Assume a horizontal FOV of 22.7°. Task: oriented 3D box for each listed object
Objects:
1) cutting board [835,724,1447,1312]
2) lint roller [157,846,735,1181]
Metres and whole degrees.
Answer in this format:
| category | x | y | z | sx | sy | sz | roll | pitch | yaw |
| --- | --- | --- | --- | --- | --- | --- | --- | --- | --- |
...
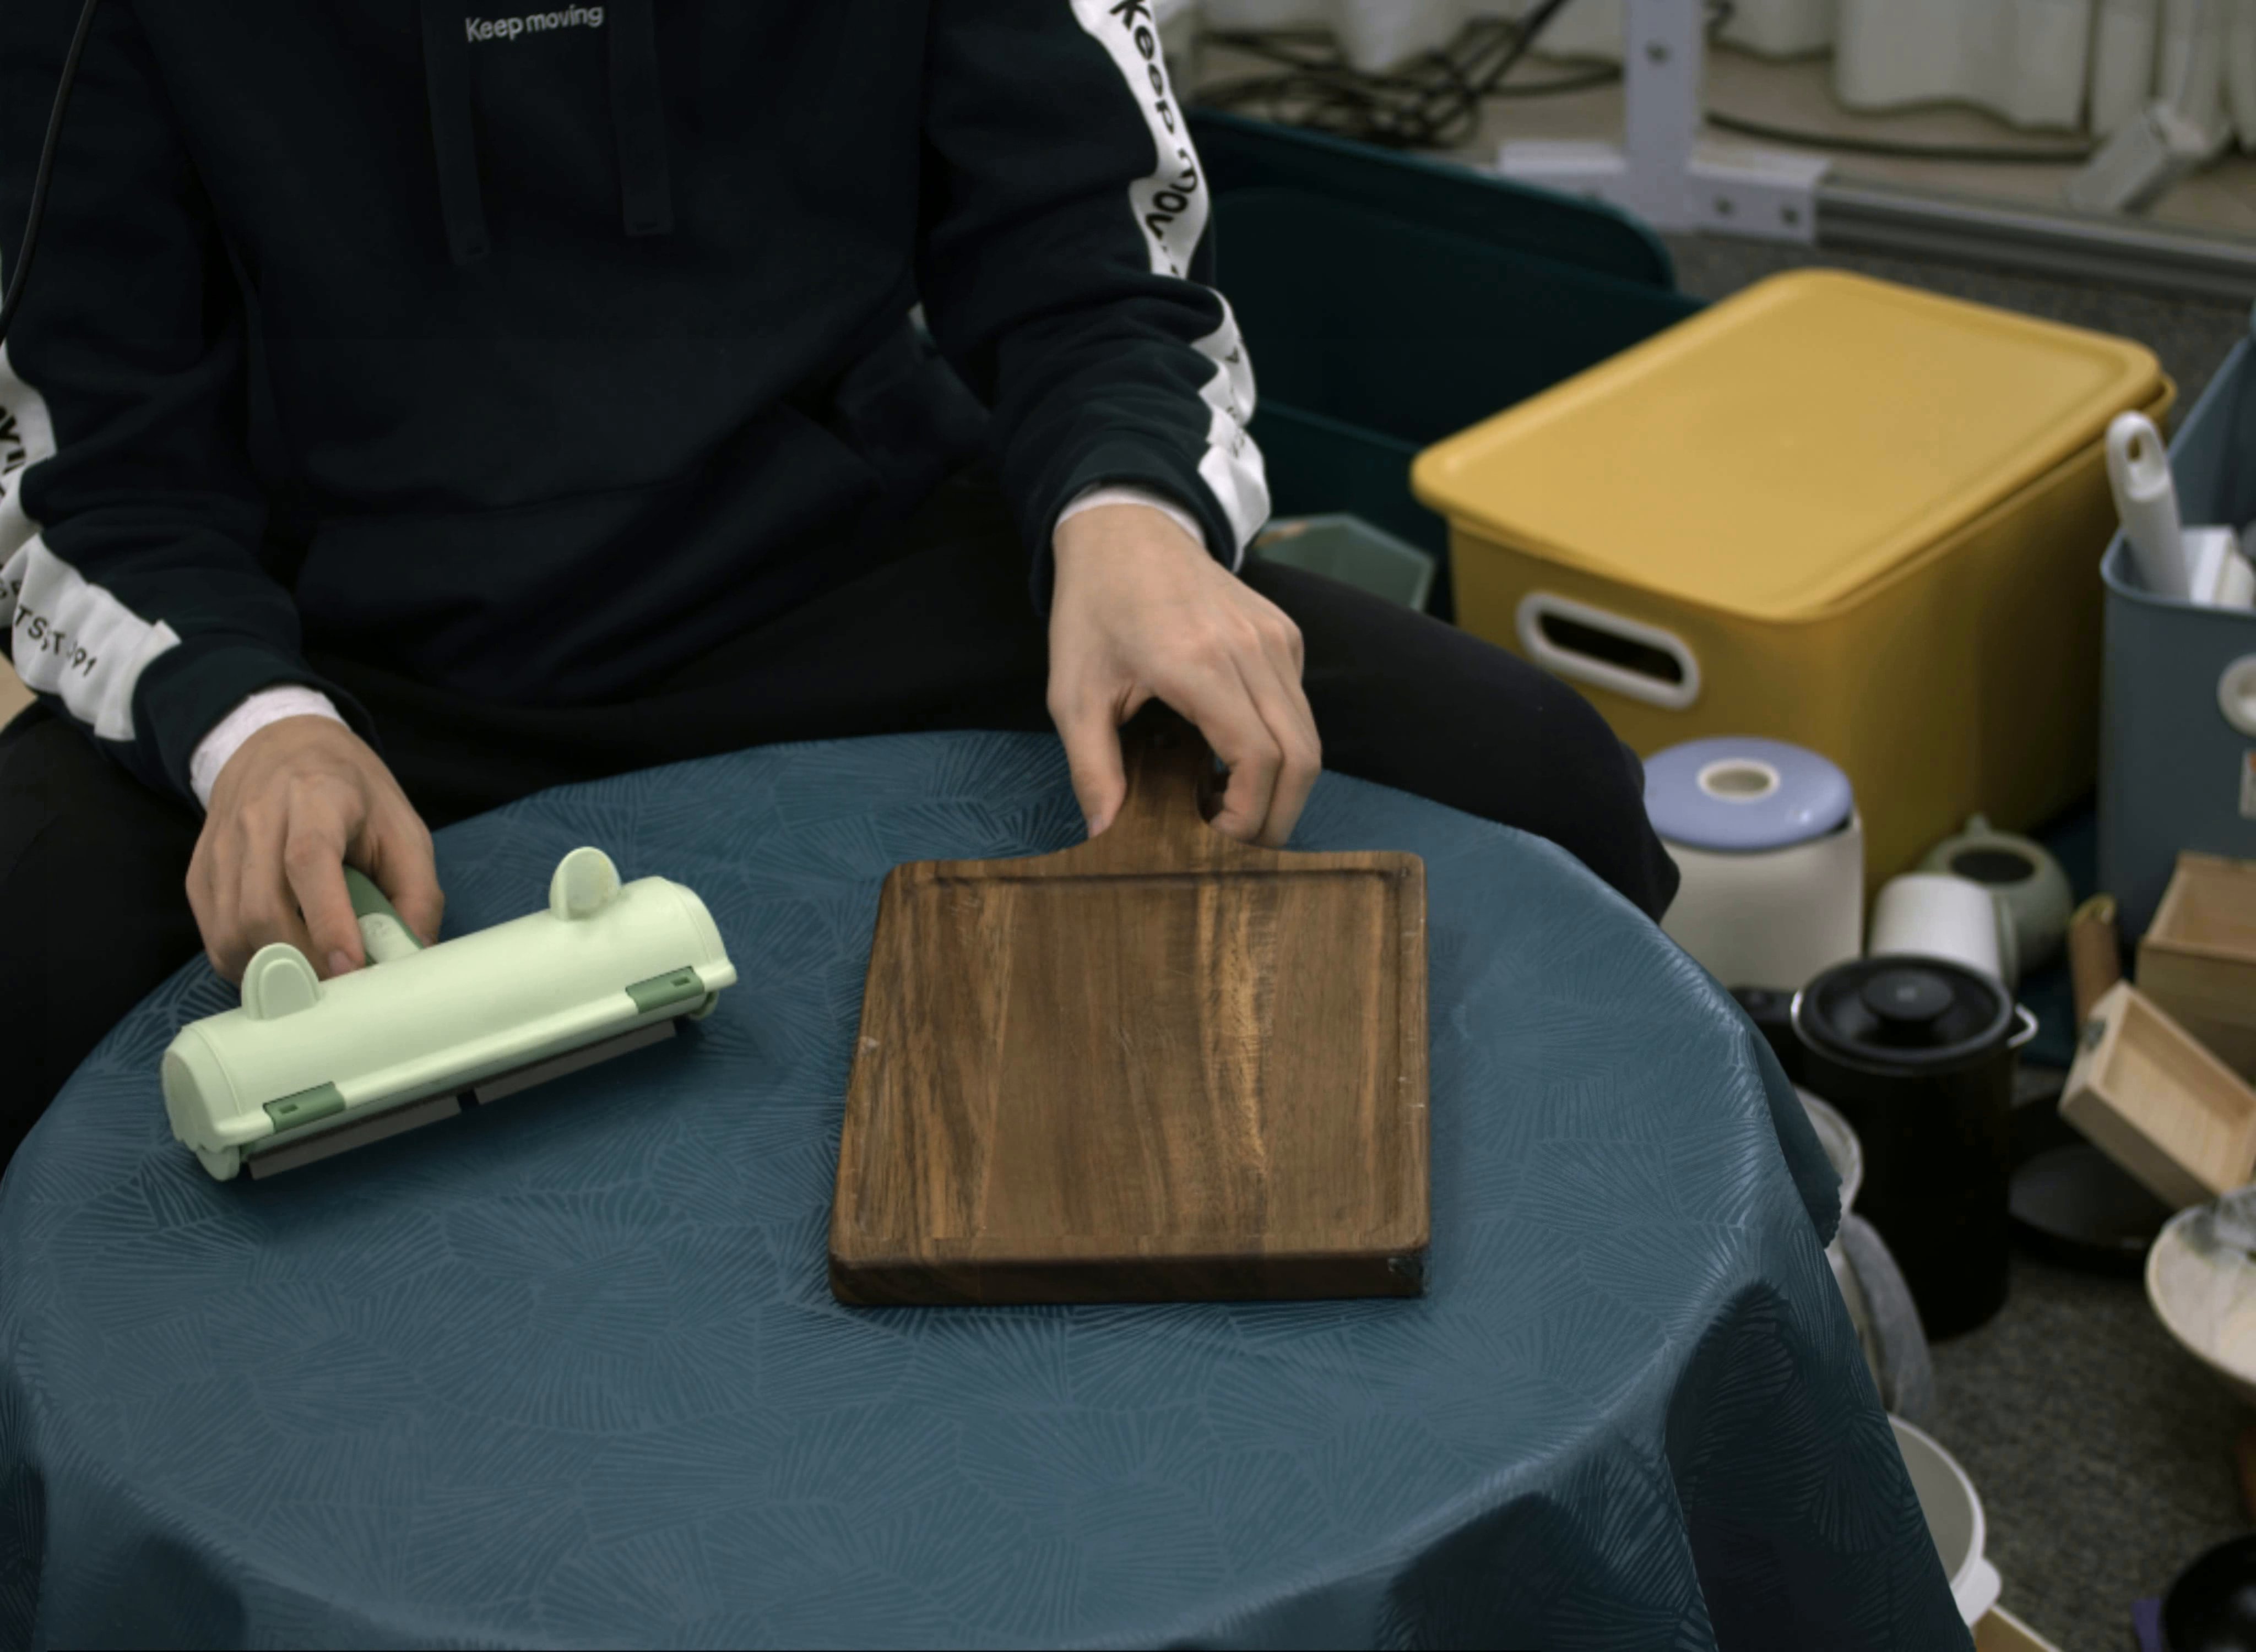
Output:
| category | x | y | z | sx | sy | sz | roll | pitch | yaw |
| --- | --- | --- | --- | --- | --- | --- | --- | --- | --- |
| cutting board | 0.007 | 0.058 | 1.946 | 0.200 | 0.023 | 0.358 | -1 | 29 | 3 |
| lint roller | -0.262 | 0.036 | 1.958 | 0.200 | 0.081 | 0.184 | -18 | 39 | -26 |
